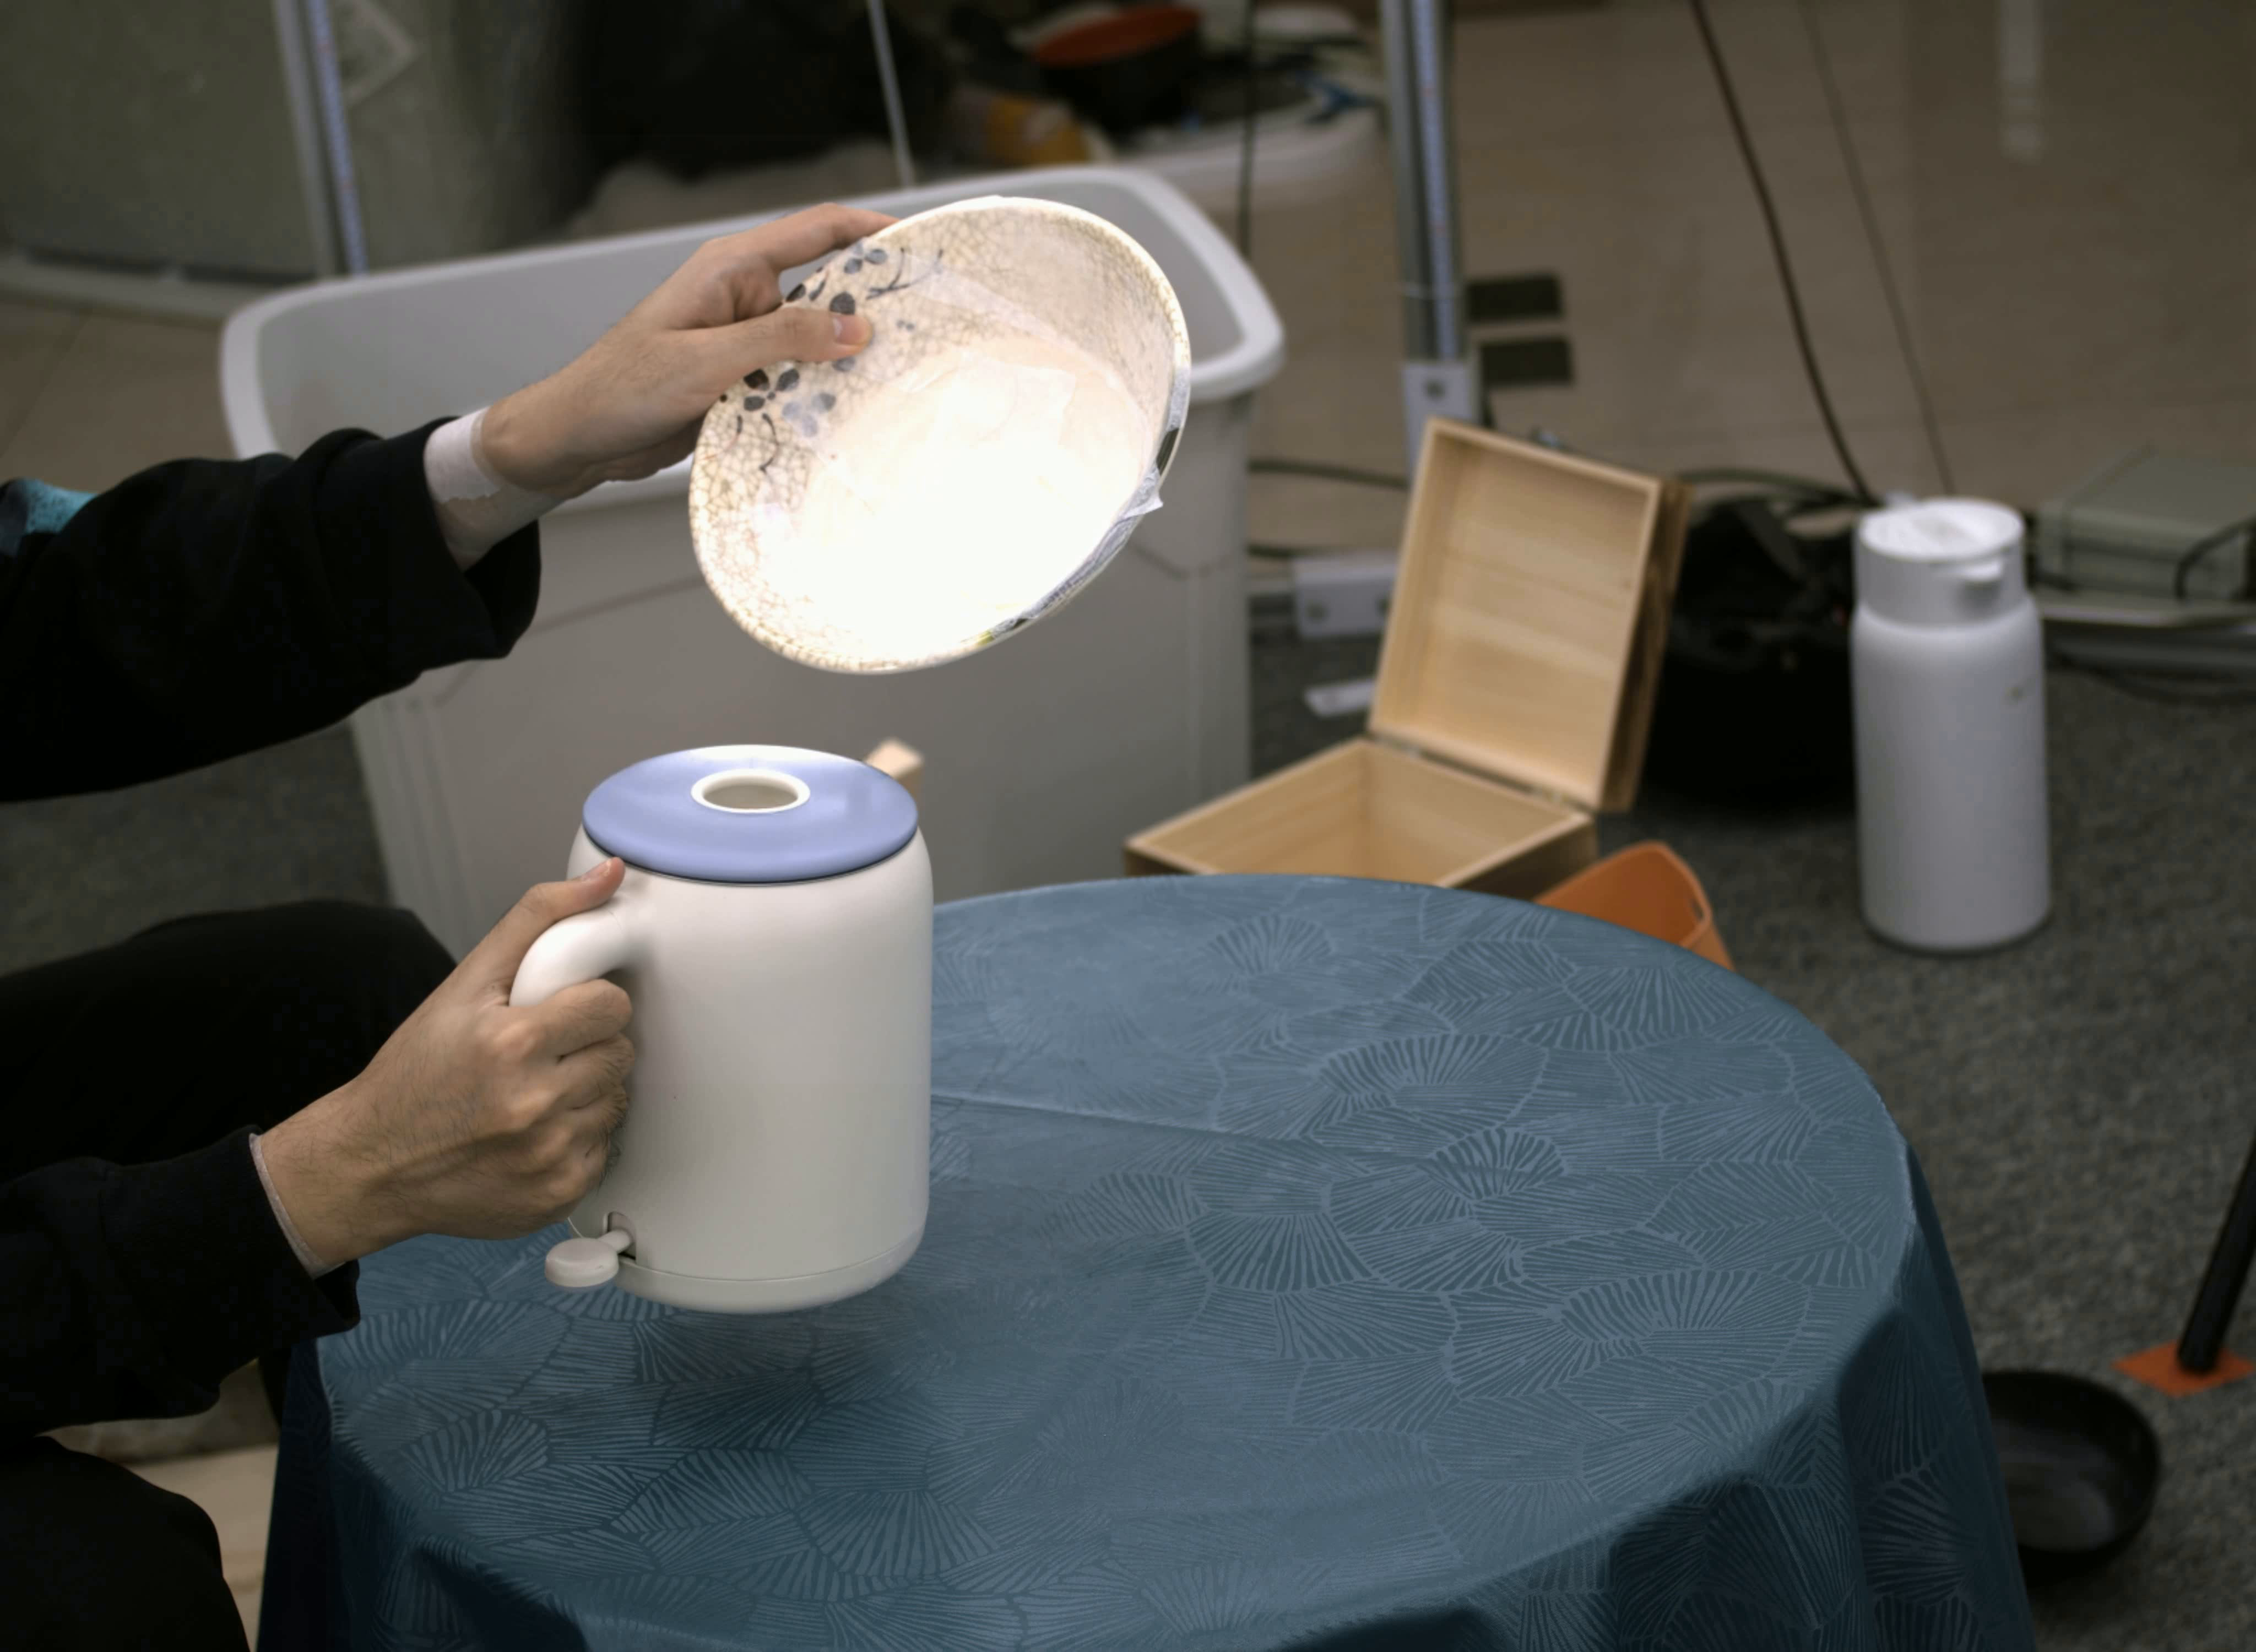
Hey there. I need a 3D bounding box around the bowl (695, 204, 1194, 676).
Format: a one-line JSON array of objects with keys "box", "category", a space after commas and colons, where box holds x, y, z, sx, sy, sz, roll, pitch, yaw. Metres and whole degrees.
[{"box": [-0.053, -0.125, 2.083, 0.204, 0.079, 0.201, -14, 56, 22], "category": "bowl"}]

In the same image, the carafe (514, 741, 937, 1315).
[{"box": [-0.149, 0.078, 2.001, 0.131, 0.185, 0.189, 17, 30, 35], "category": "carafe"}]
